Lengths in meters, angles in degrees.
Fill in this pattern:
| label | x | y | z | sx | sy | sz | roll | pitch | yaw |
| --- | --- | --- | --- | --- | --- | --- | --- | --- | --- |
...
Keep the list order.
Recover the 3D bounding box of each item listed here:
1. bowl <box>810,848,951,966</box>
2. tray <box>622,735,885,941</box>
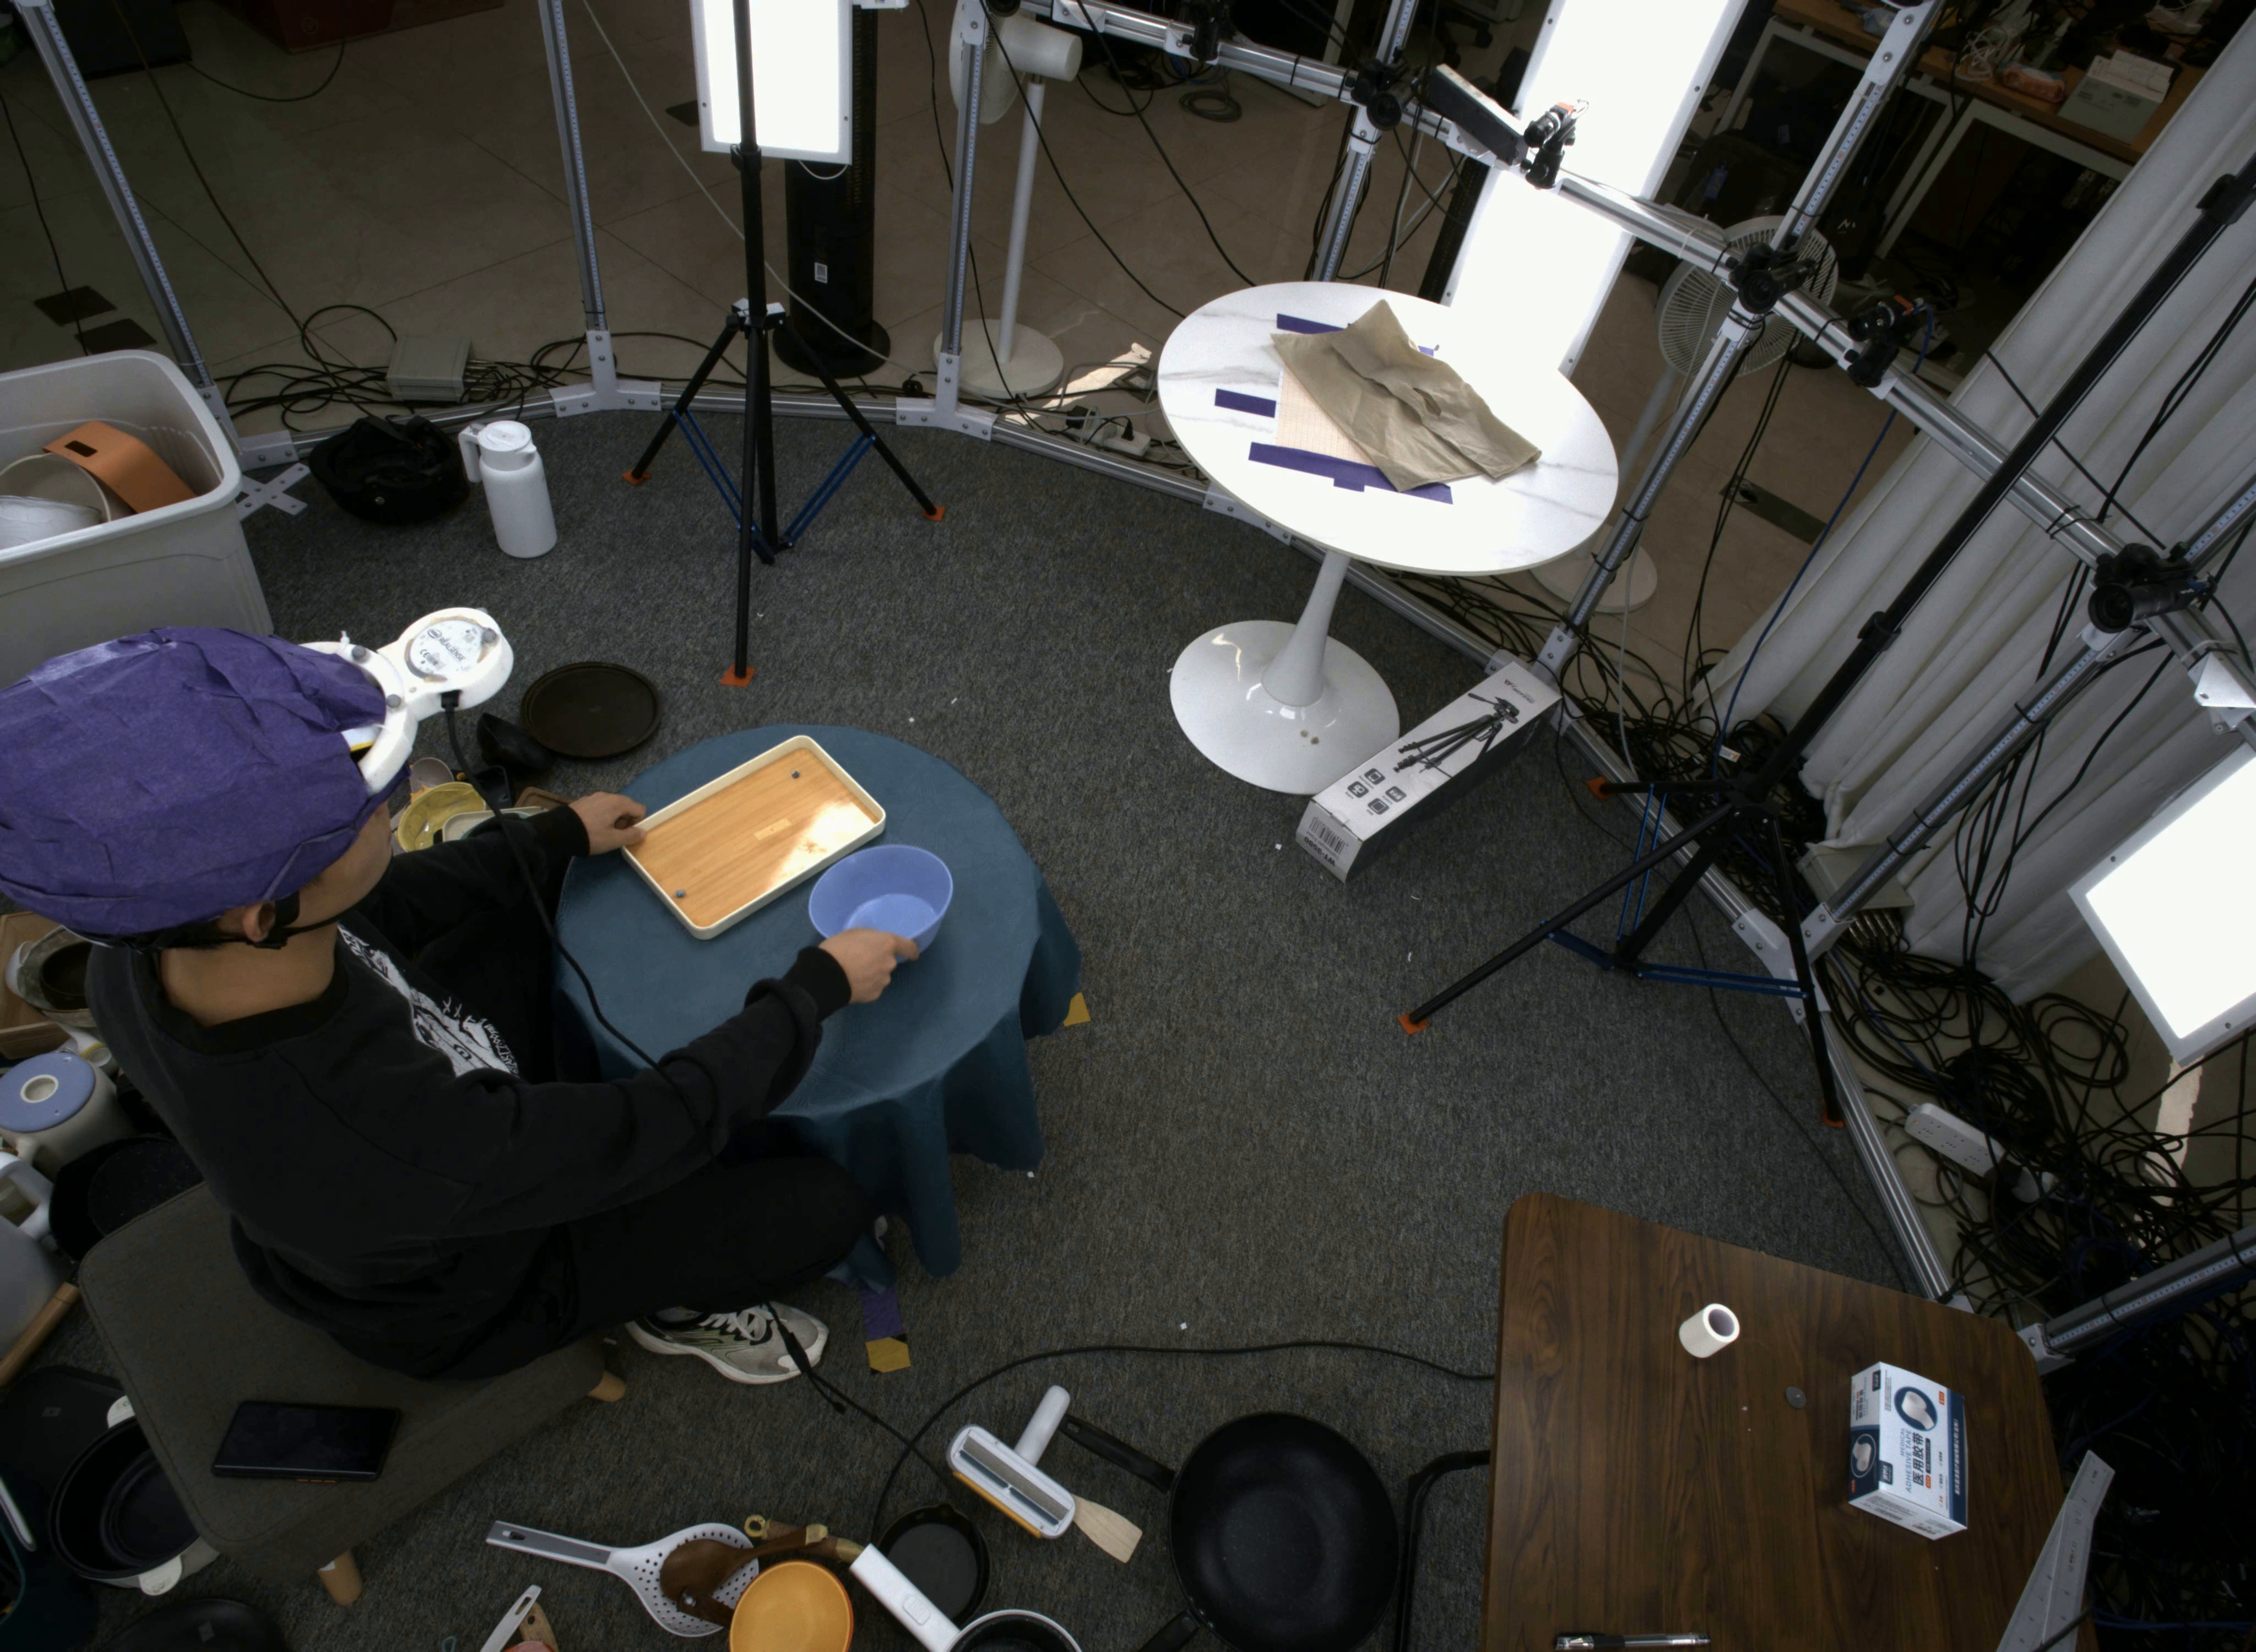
| label | x | y | z | sx | sy | sz | roll | pitch | yaw |
| --- | --- | --- | --- | --- | --- | --- | --- | --- | --- |
| bowl | -0.300 | 0.108 | 1.608 | 0.174 | 0.073 | 0.172 | 0 | 42 | 2 |
| tray | -0.486 | 0.008 | 1.690 | 0.187 | 0.028 | 0.301 | 42 | 55 | 18 |
